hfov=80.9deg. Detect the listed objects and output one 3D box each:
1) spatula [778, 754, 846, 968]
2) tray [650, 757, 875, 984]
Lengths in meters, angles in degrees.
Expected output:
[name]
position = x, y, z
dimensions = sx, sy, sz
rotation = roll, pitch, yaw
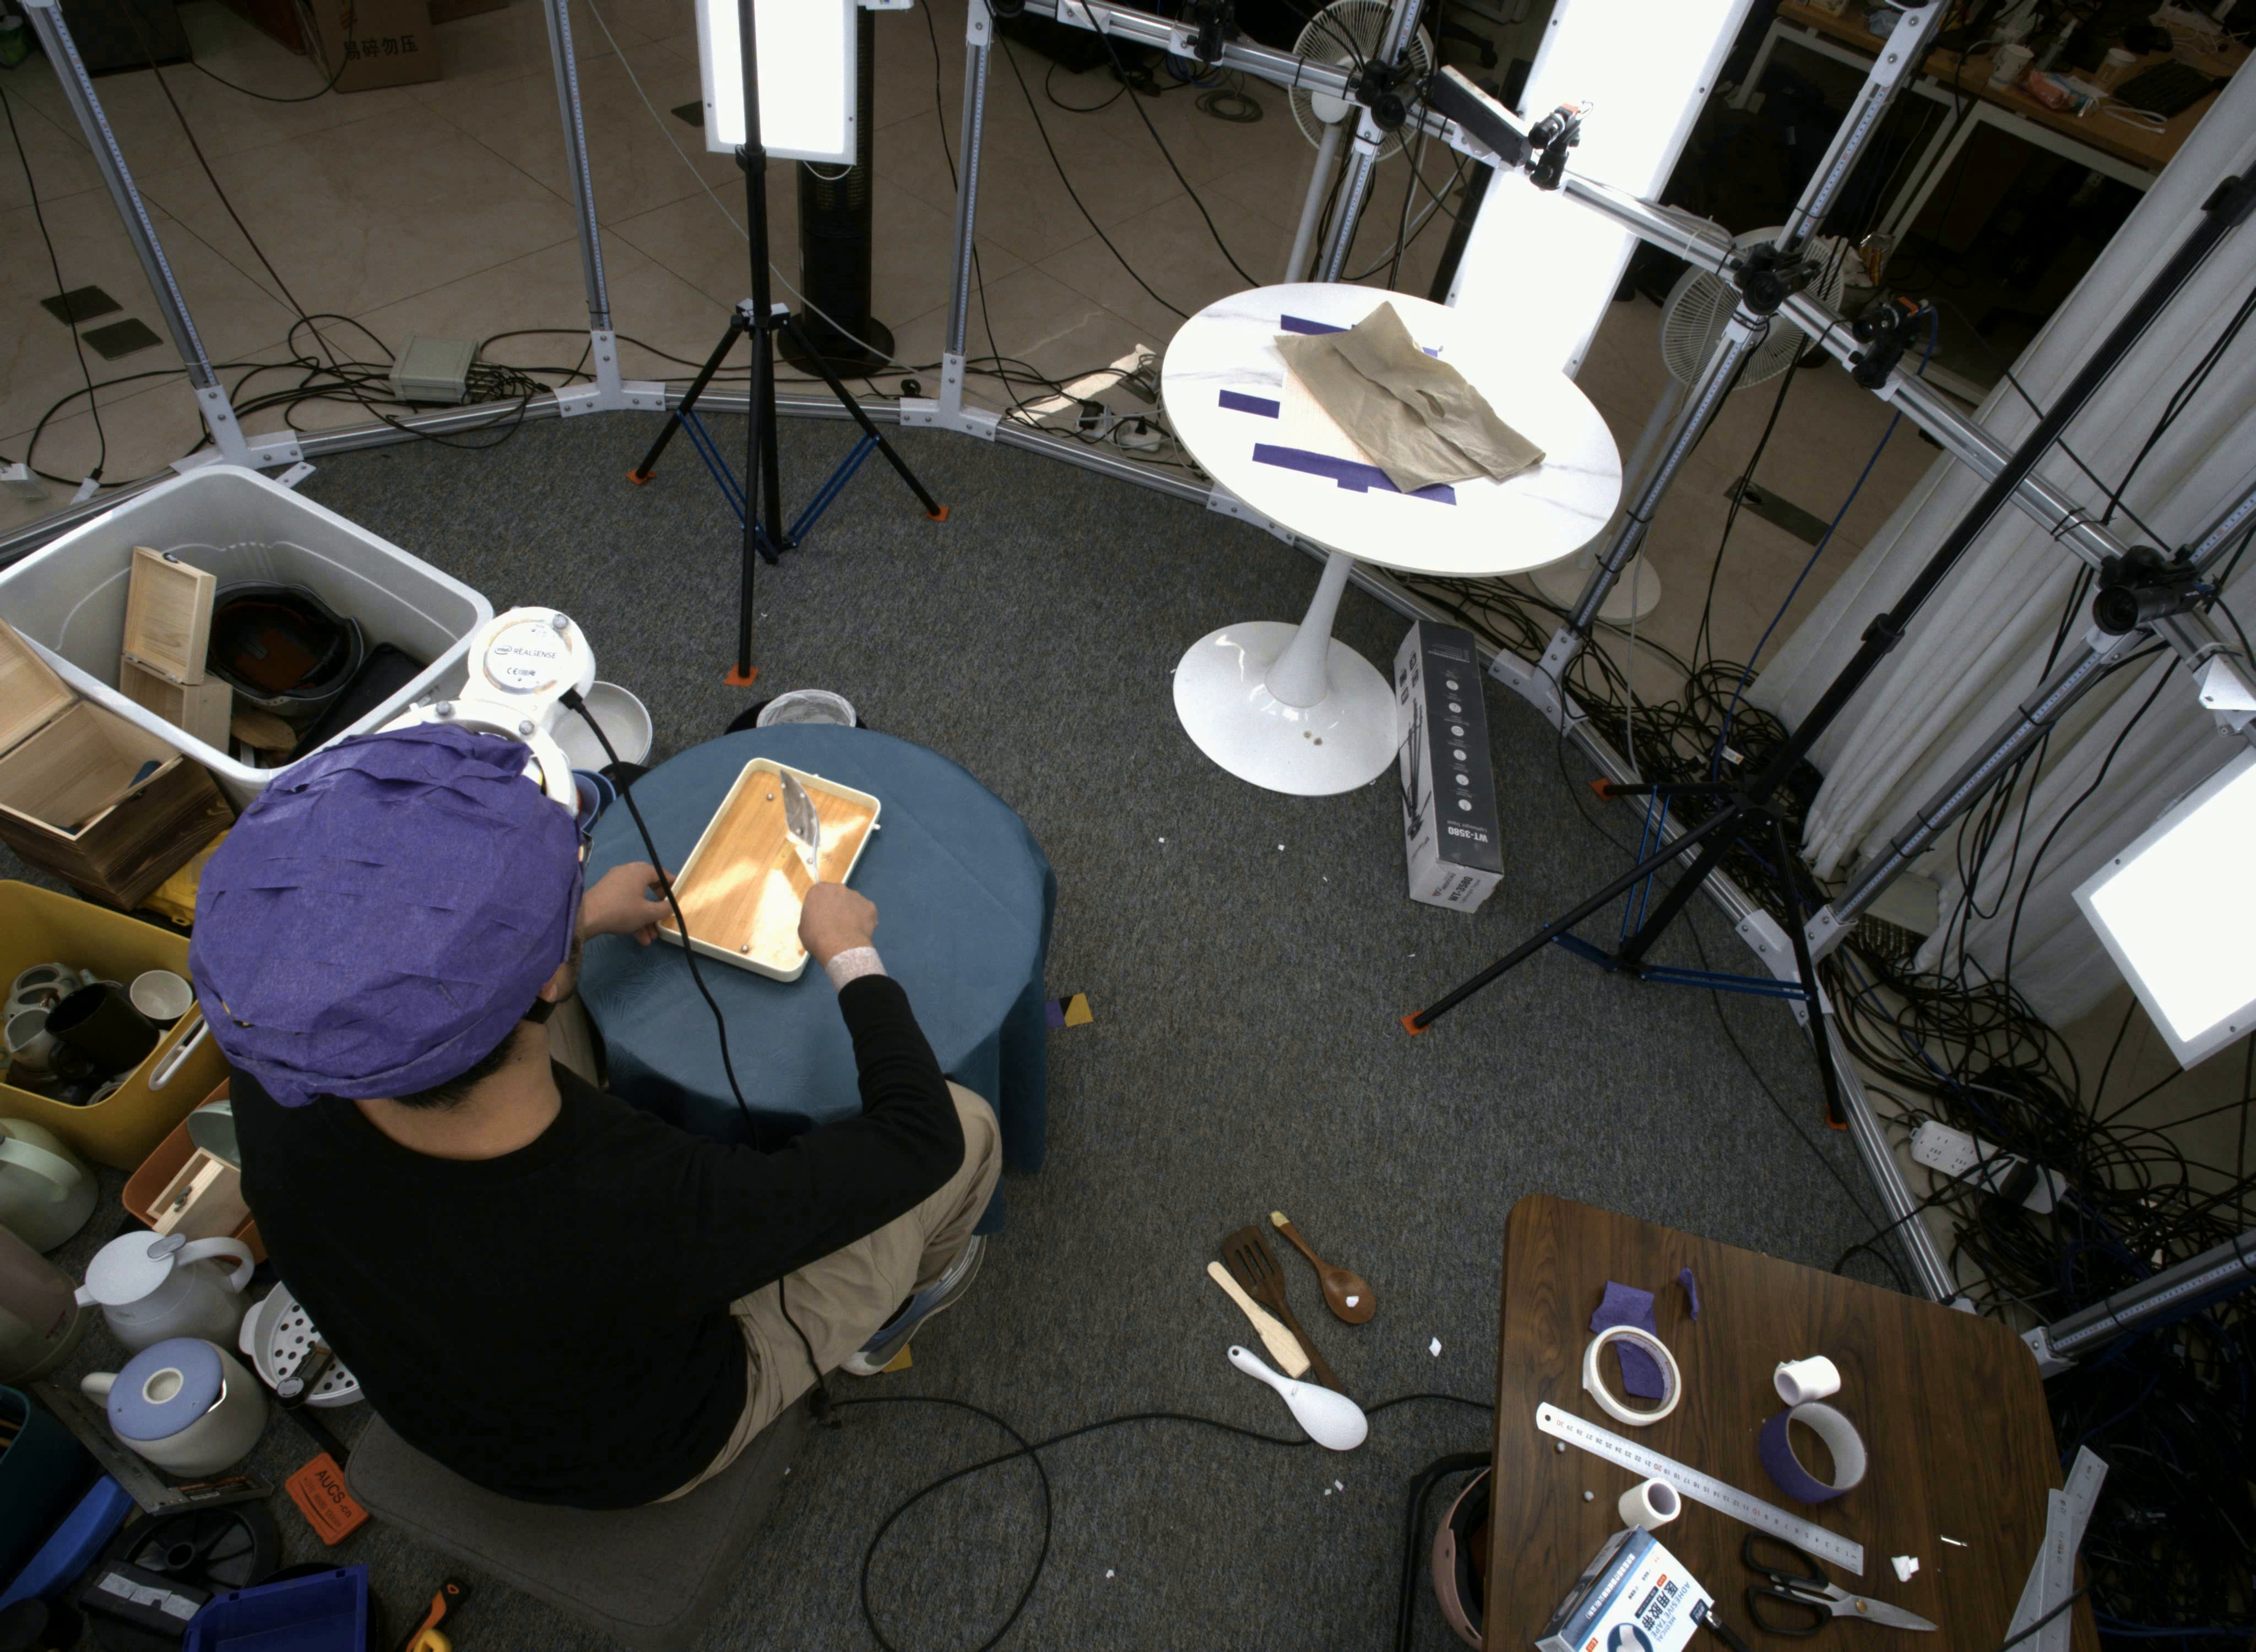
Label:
[spatula]
position = -0.376, 0.042, 1.529
dimensions = 0.045, 0.101, 0.353
rotation = -6, 38, -16
[tray]
position = -0.459, 0.048, 1.647
dimensions = 0.190, 0.028, 0.297
rotation = 20, 50, -3
